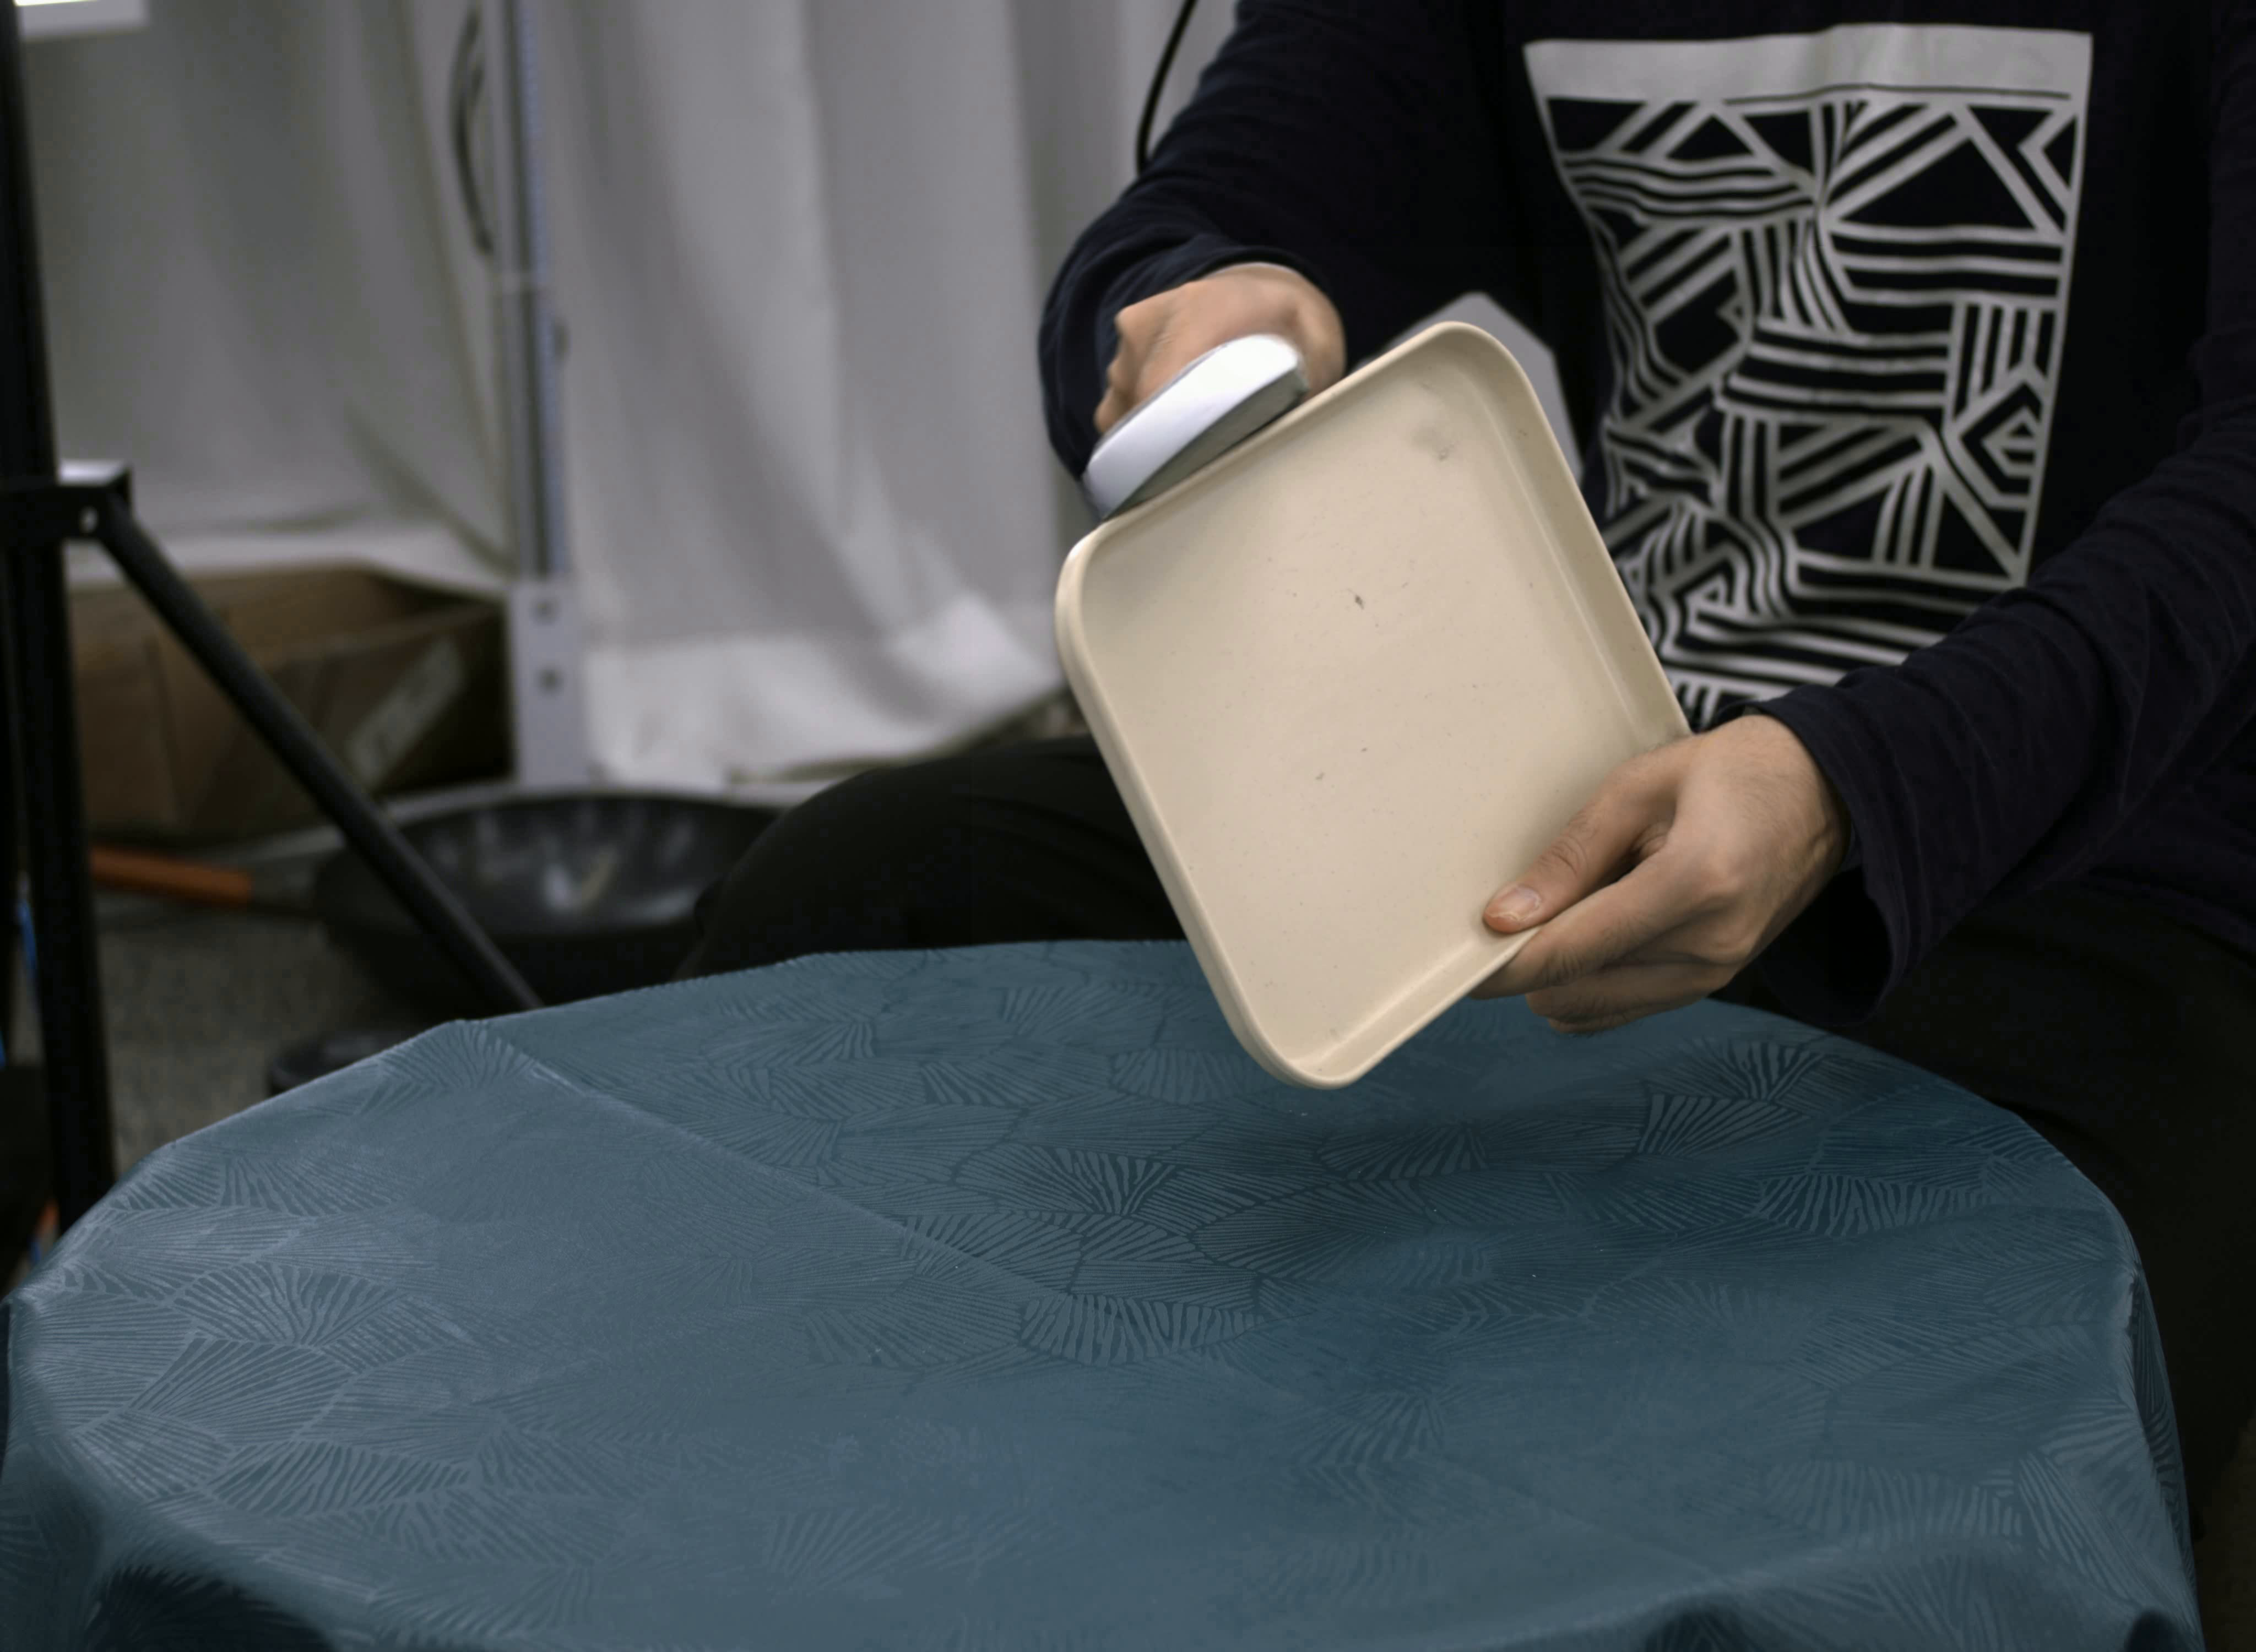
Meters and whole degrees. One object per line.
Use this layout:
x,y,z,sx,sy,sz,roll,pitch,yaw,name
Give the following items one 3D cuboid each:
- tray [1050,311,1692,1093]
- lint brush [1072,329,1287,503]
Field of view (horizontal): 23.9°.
0.072,-0.038,1.521,0.018,0.171,0.236,-21,9,43,tray
0.024,-0.119,1.563,0.060,0.021,0.307,-43,-1,7,lint brush
